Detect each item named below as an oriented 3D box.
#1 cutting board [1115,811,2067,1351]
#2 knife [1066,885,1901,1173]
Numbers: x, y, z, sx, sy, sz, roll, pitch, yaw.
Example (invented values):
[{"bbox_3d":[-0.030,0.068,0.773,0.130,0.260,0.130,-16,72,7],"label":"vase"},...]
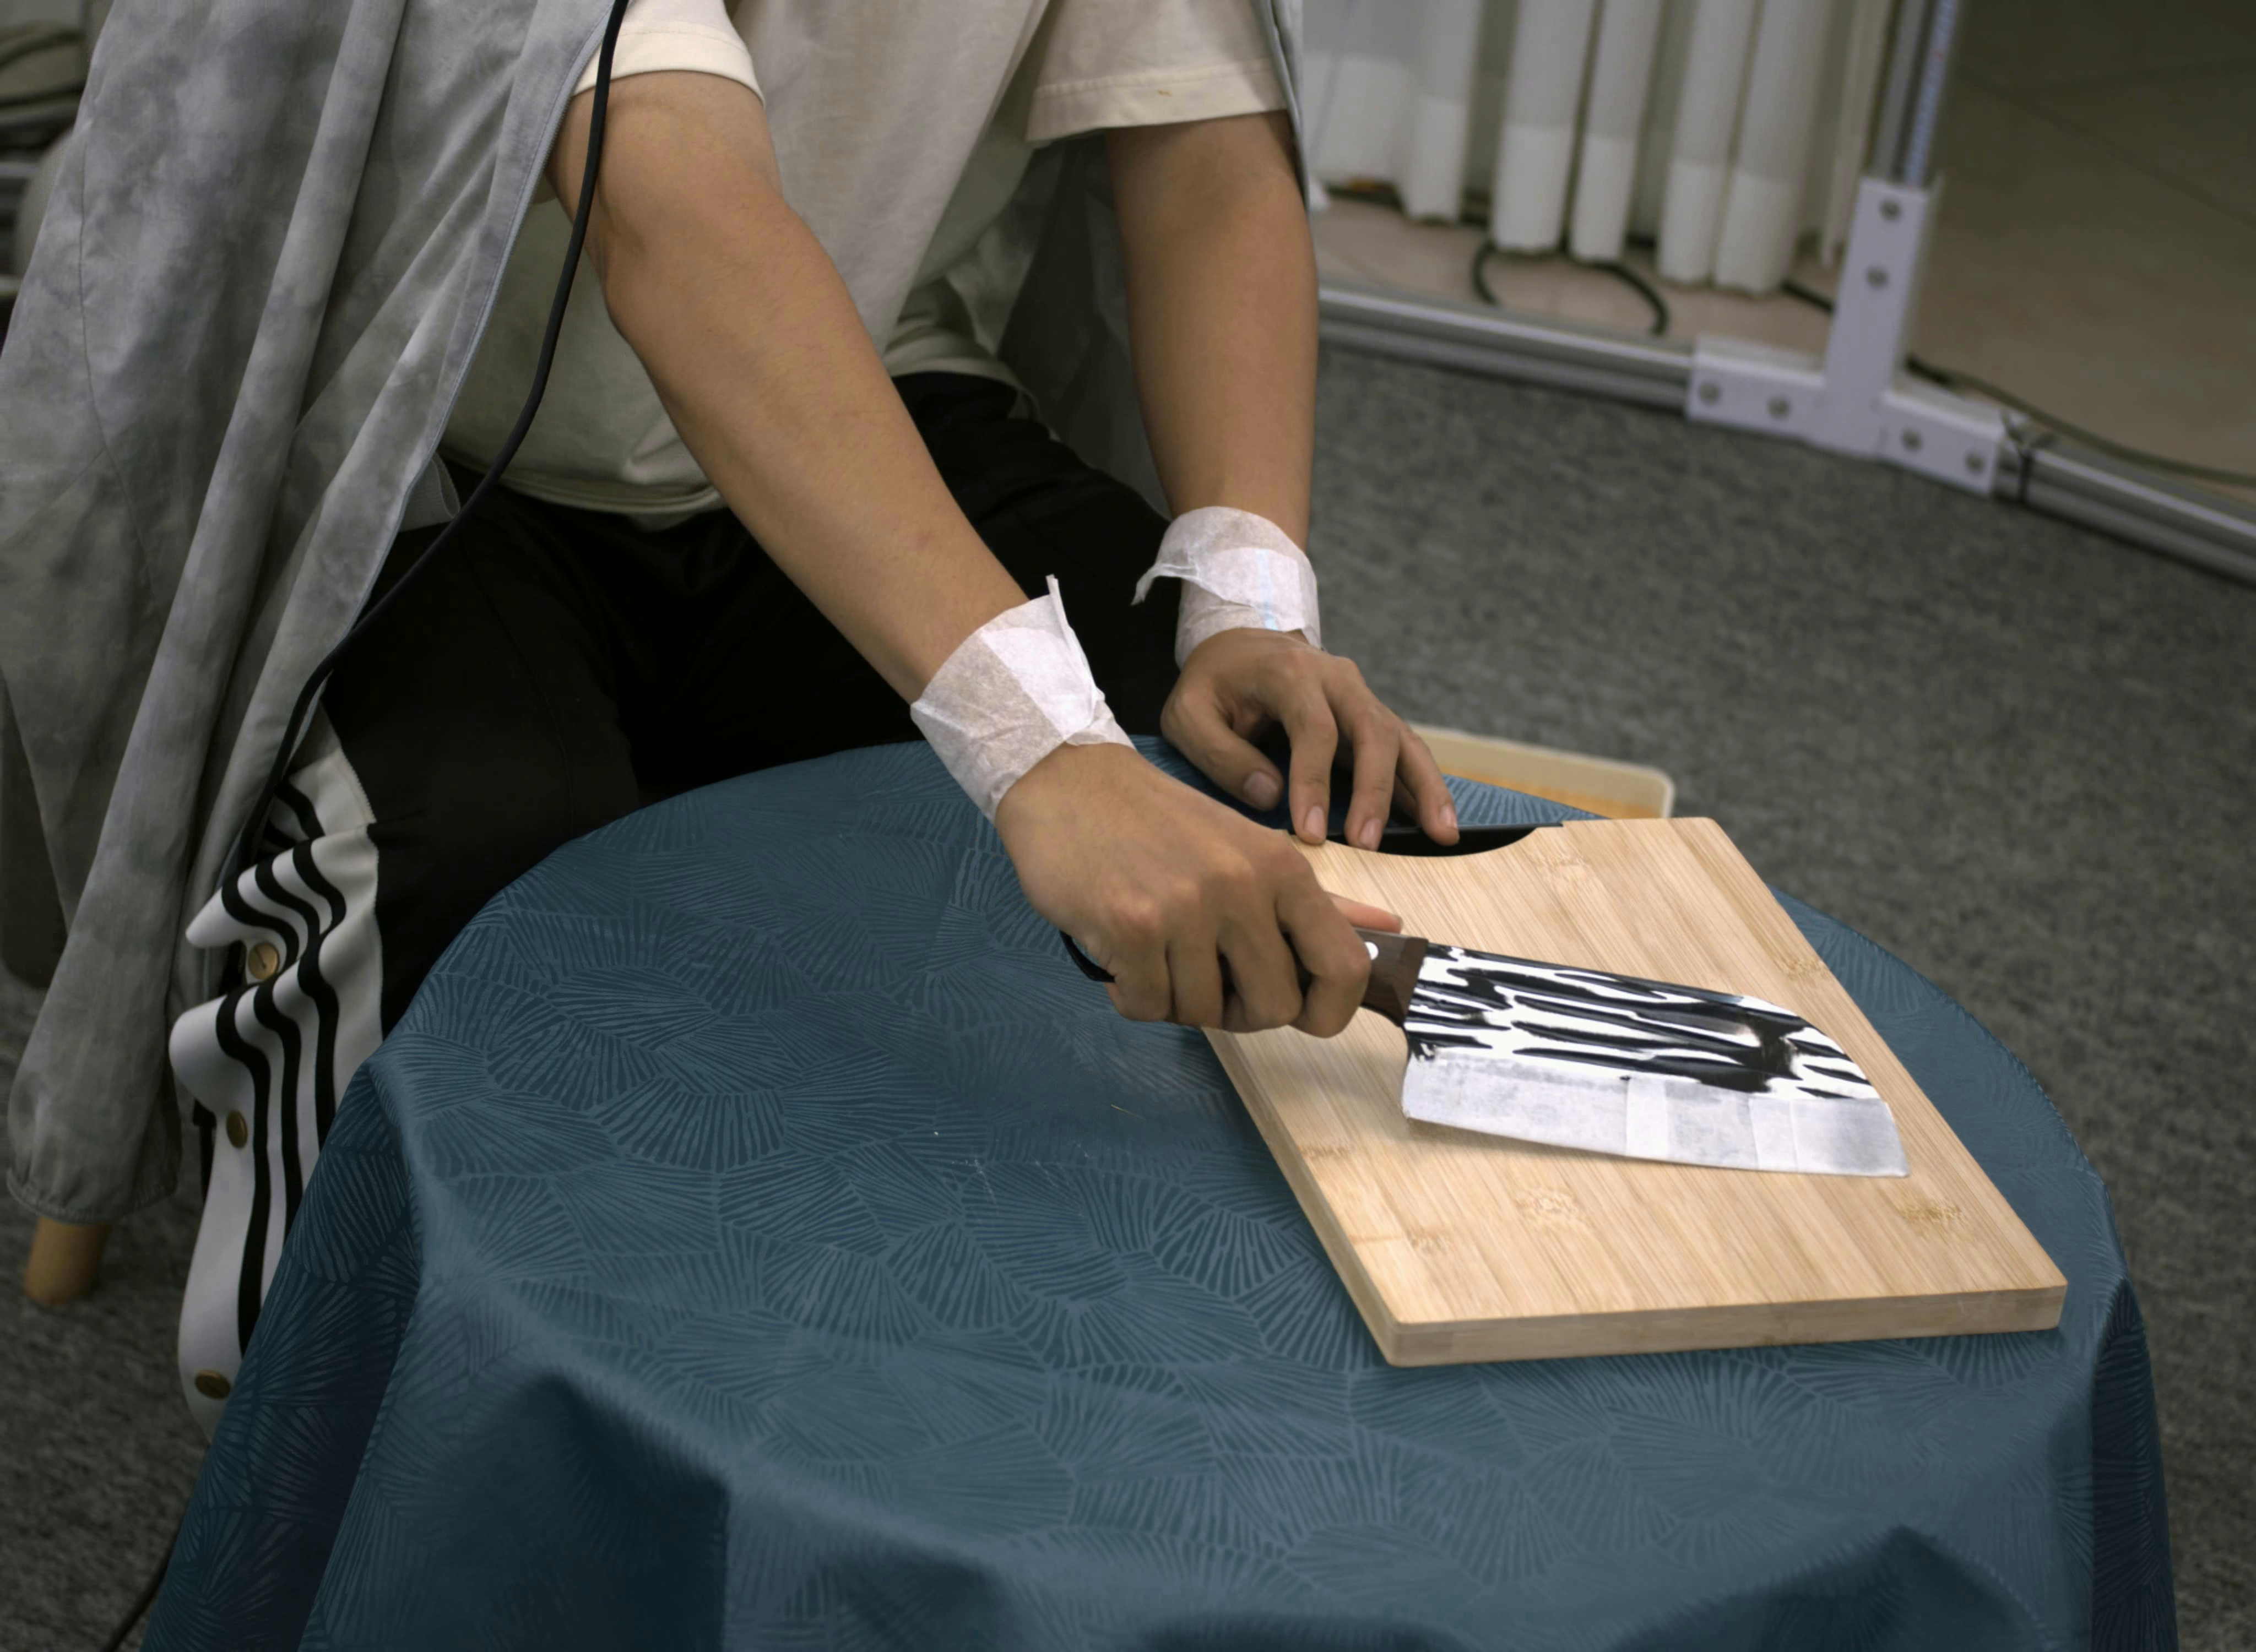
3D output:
[{"bbox_3d":[0.154,0.085,1.899,0.249,0.023,0.351,-2,28,-17],"label":"cutting board"},{"bbox_3d":[0.123,0.072,1.831,0.298,0.024,0.068,11,63,-5],"label":"knife"}]
